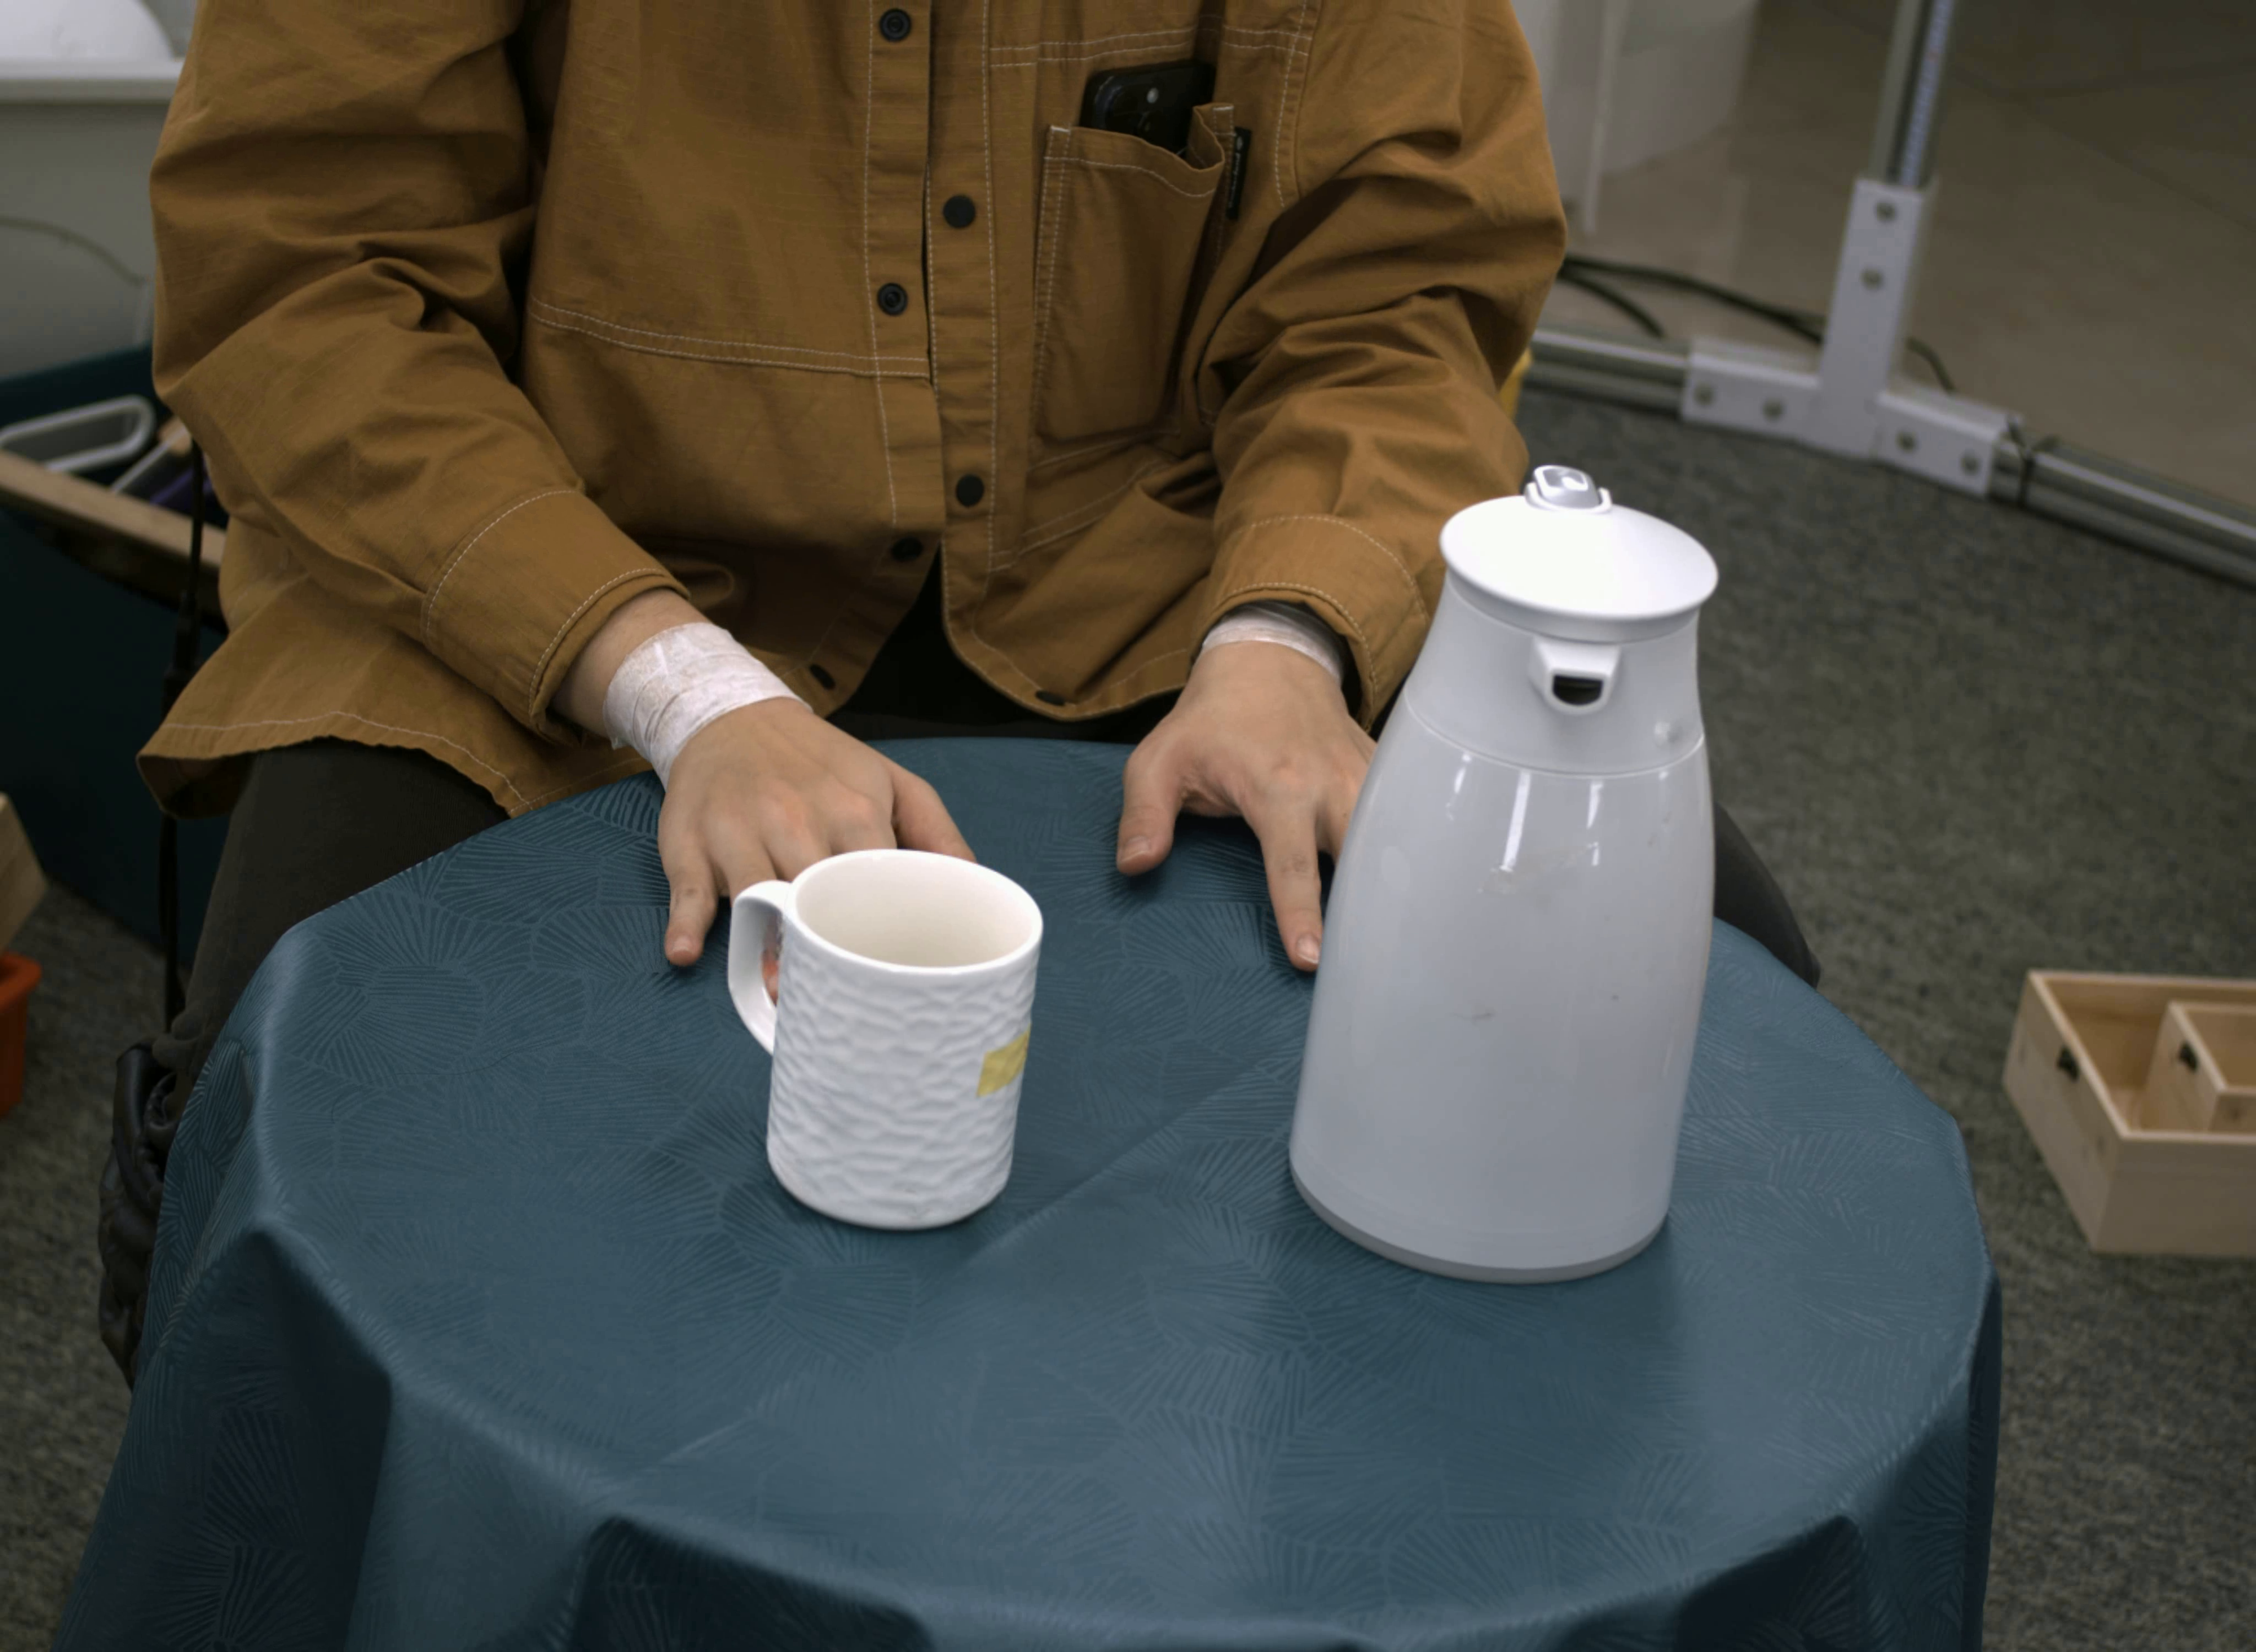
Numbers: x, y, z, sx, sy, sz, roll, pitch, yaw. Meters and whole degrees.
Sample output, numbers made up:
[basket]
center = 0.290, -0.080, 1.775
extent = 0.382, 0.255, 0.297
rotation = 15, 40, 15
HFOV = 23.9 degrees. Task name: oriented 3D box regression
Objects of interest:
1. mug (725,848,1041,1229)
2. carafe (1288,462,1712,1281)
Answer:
[mug]
center = -0.089, 0.066, 1.786
extent = 0.119, 0.101, 0.084
rotation = 24, 30, 32
[carafe]
center = 0.131, 0.005, 1.796
extent = 0.132, 0.248, 0.168
rotation = 5, 26, -2
